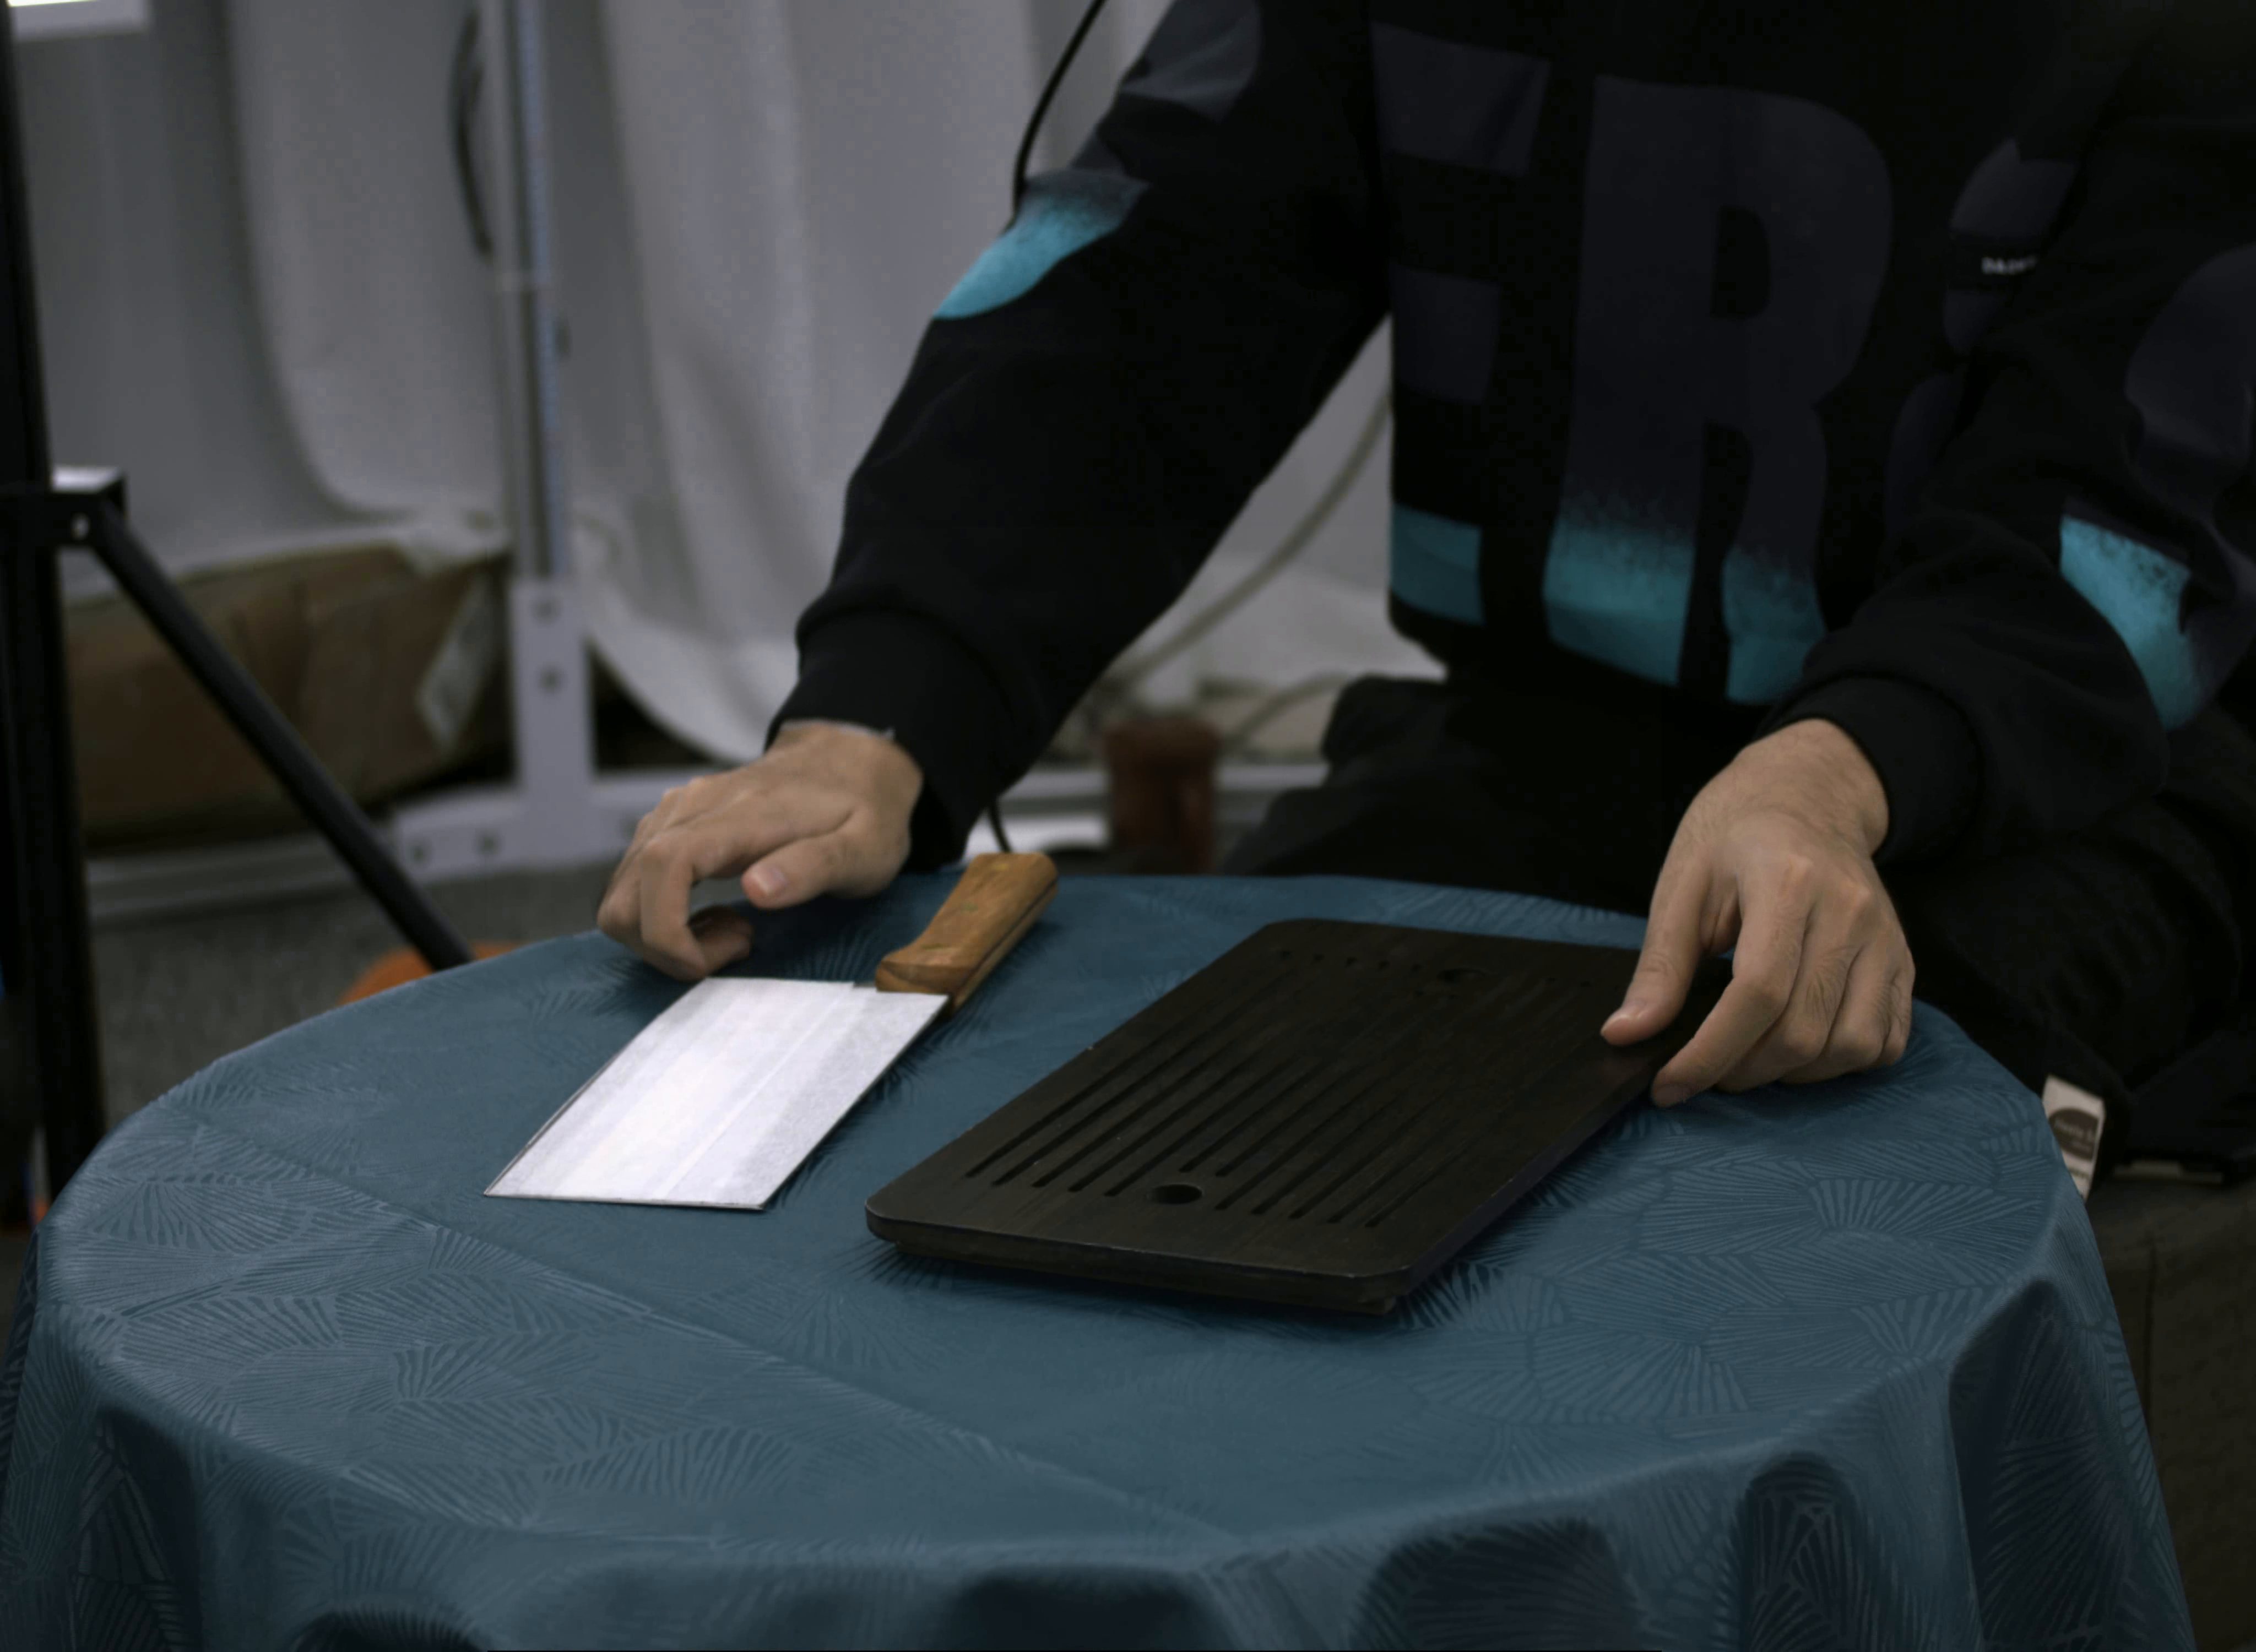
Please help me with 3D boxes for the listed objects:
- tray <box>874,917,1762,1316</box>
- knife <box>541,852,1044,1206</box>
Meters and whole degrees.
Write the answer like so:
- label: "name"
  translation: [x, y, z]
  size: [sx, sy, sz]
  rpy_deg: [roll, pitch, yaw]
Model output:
- label: "tray"
  translation: [0.065, 0.084, 1.597]
  size: [0.173, 0.018, 0.301]
  rpy_deg: [5, 18, 27]
- label: "knife"
  translation: [-0.106, 0.063, 1.706]
  size: [0.094, 0.021, 0.303]
  rpy_deg: [0, 18, 17]
